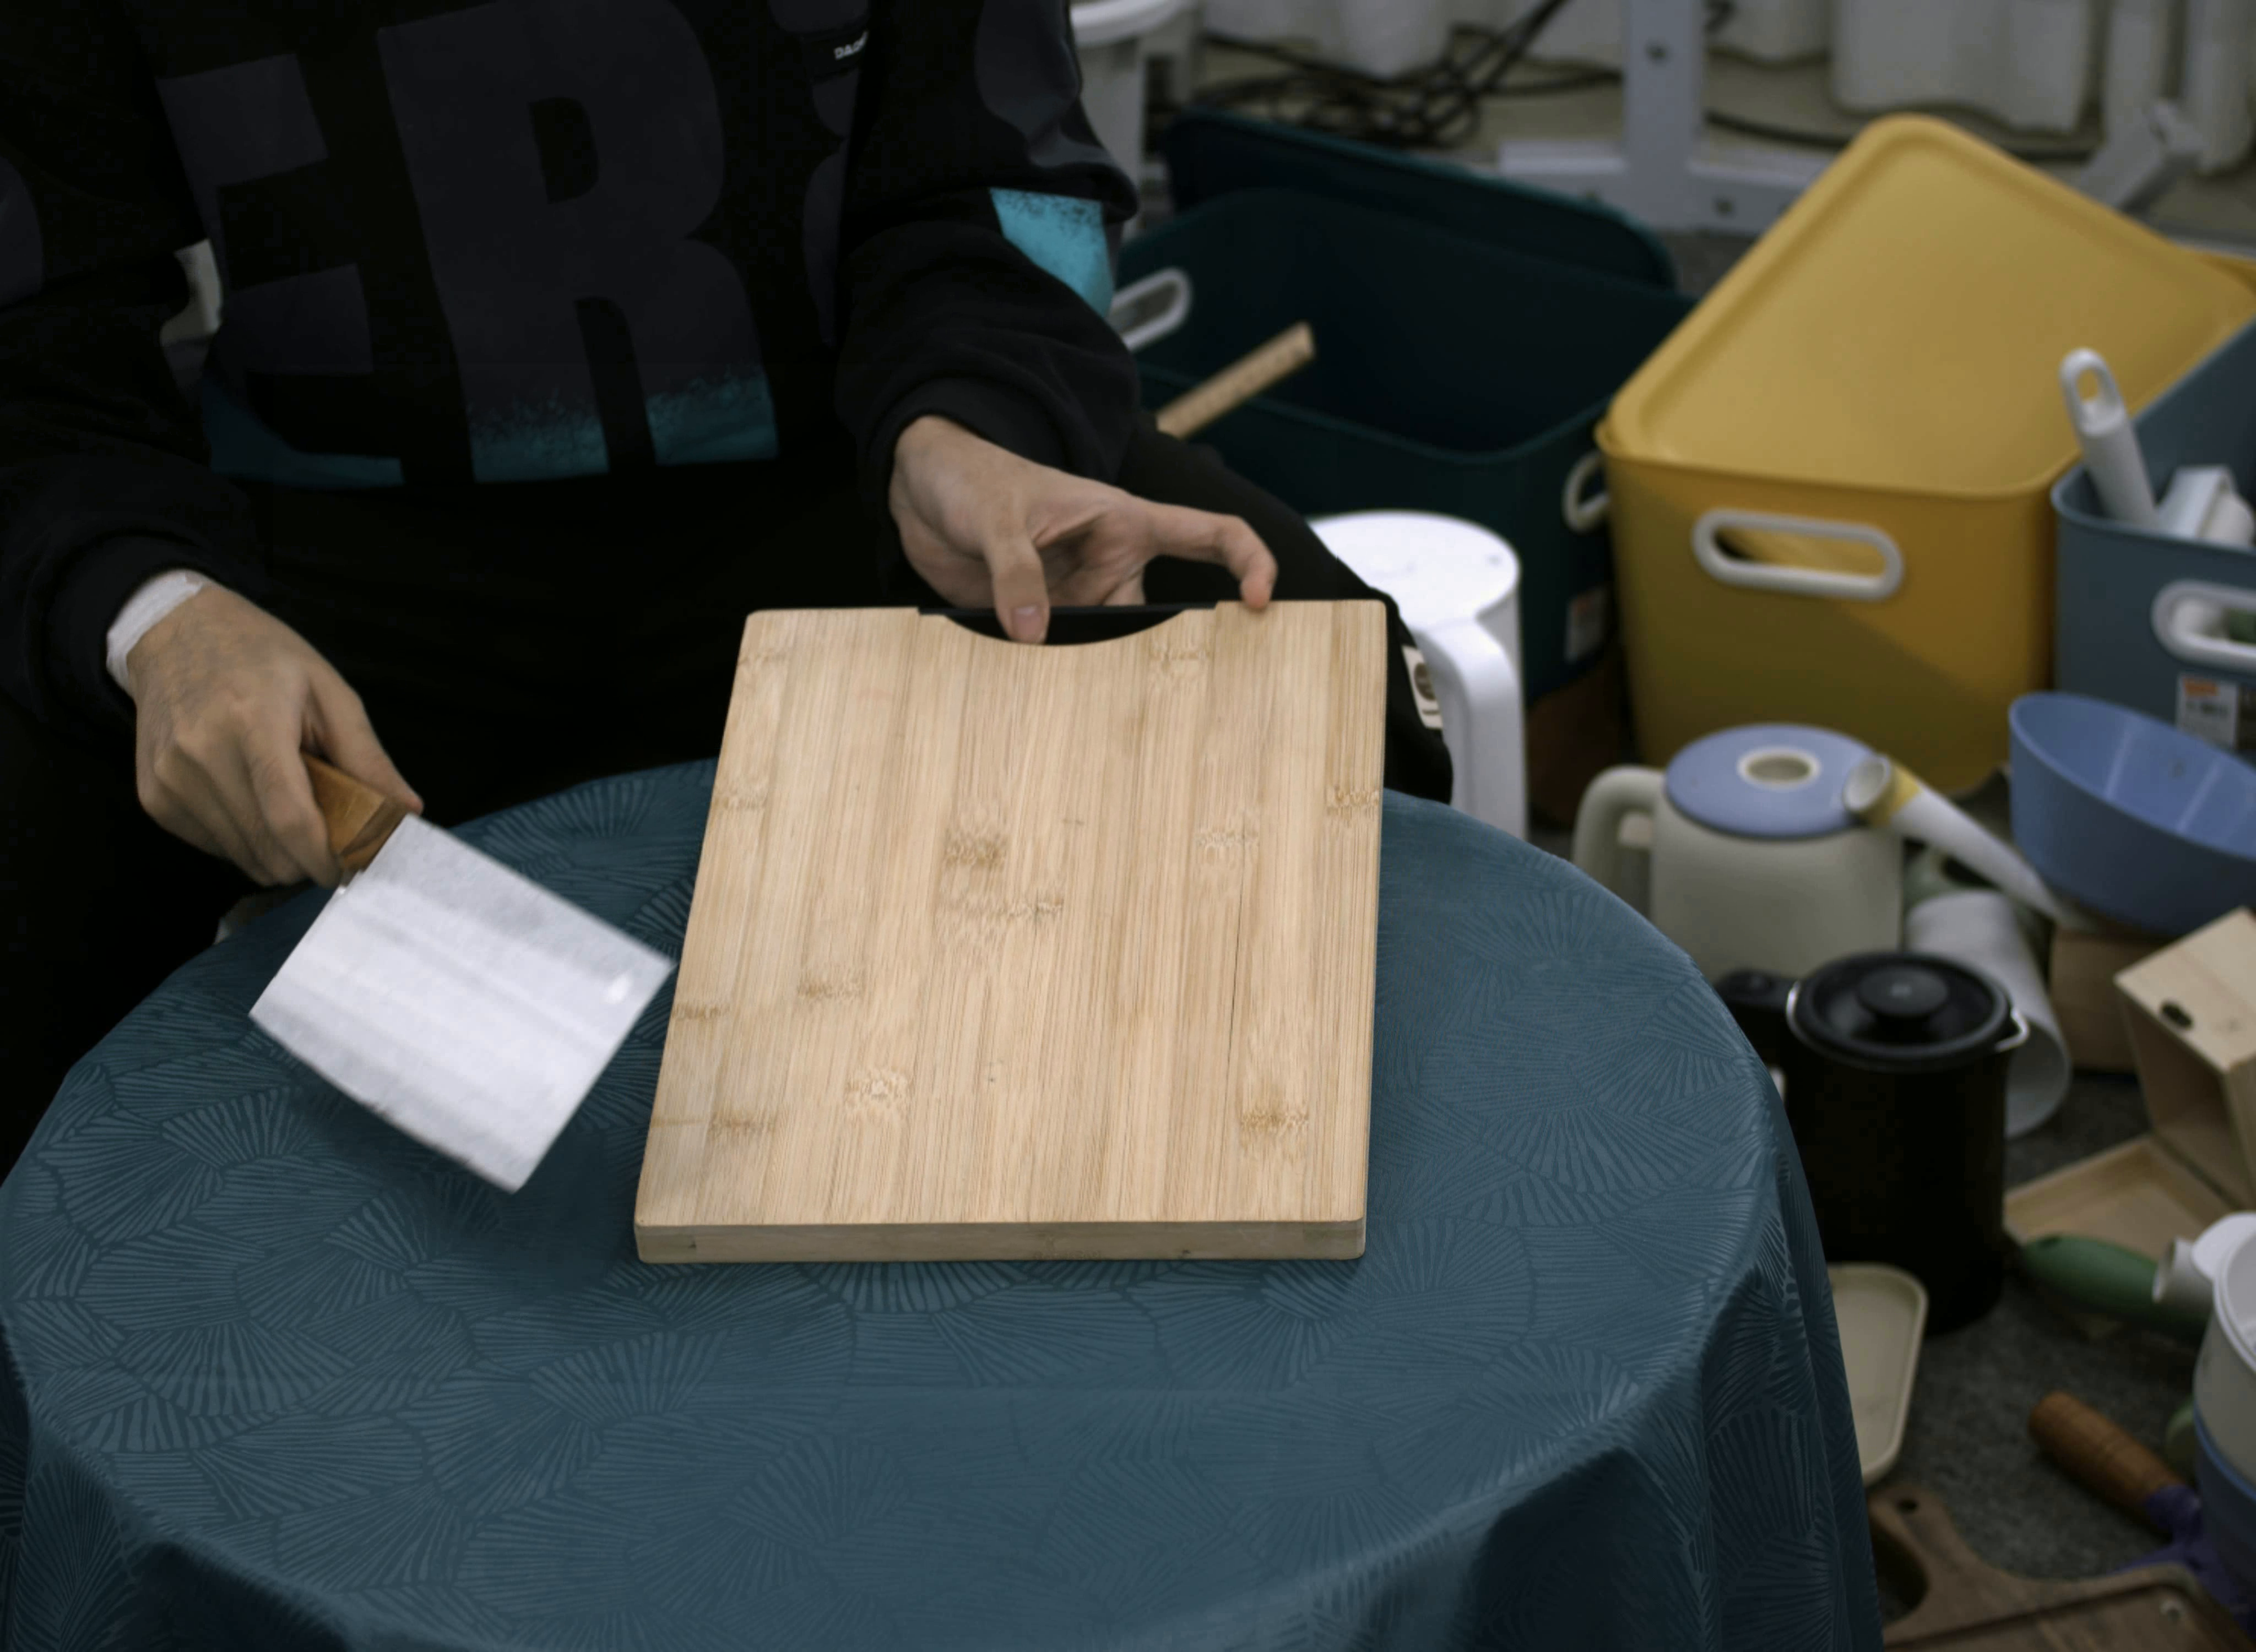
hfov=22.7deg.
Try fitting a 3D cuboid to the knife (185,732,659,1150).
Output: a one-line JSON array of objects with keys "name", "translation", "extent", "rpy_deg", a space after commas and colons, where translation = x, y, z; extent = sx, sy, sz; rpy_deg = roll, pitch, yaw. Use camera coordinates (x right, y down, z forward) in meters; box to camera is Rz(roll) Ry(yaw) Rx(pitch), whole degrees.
[{"name": "knife", "translation": [-0.258, 0.040, 1.916], "extent": [0.305, 0.021, 0.093], "rpy_deg": [25, 78, 51]}]

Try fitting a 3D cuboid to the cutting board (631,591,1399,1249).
[{"name": "cutting board", "translation": [-0.031, 0.028, 1.963], "extent": [0.249, 0.023, 0.355], "rpy_deg": [-1, 37, 4]}]
